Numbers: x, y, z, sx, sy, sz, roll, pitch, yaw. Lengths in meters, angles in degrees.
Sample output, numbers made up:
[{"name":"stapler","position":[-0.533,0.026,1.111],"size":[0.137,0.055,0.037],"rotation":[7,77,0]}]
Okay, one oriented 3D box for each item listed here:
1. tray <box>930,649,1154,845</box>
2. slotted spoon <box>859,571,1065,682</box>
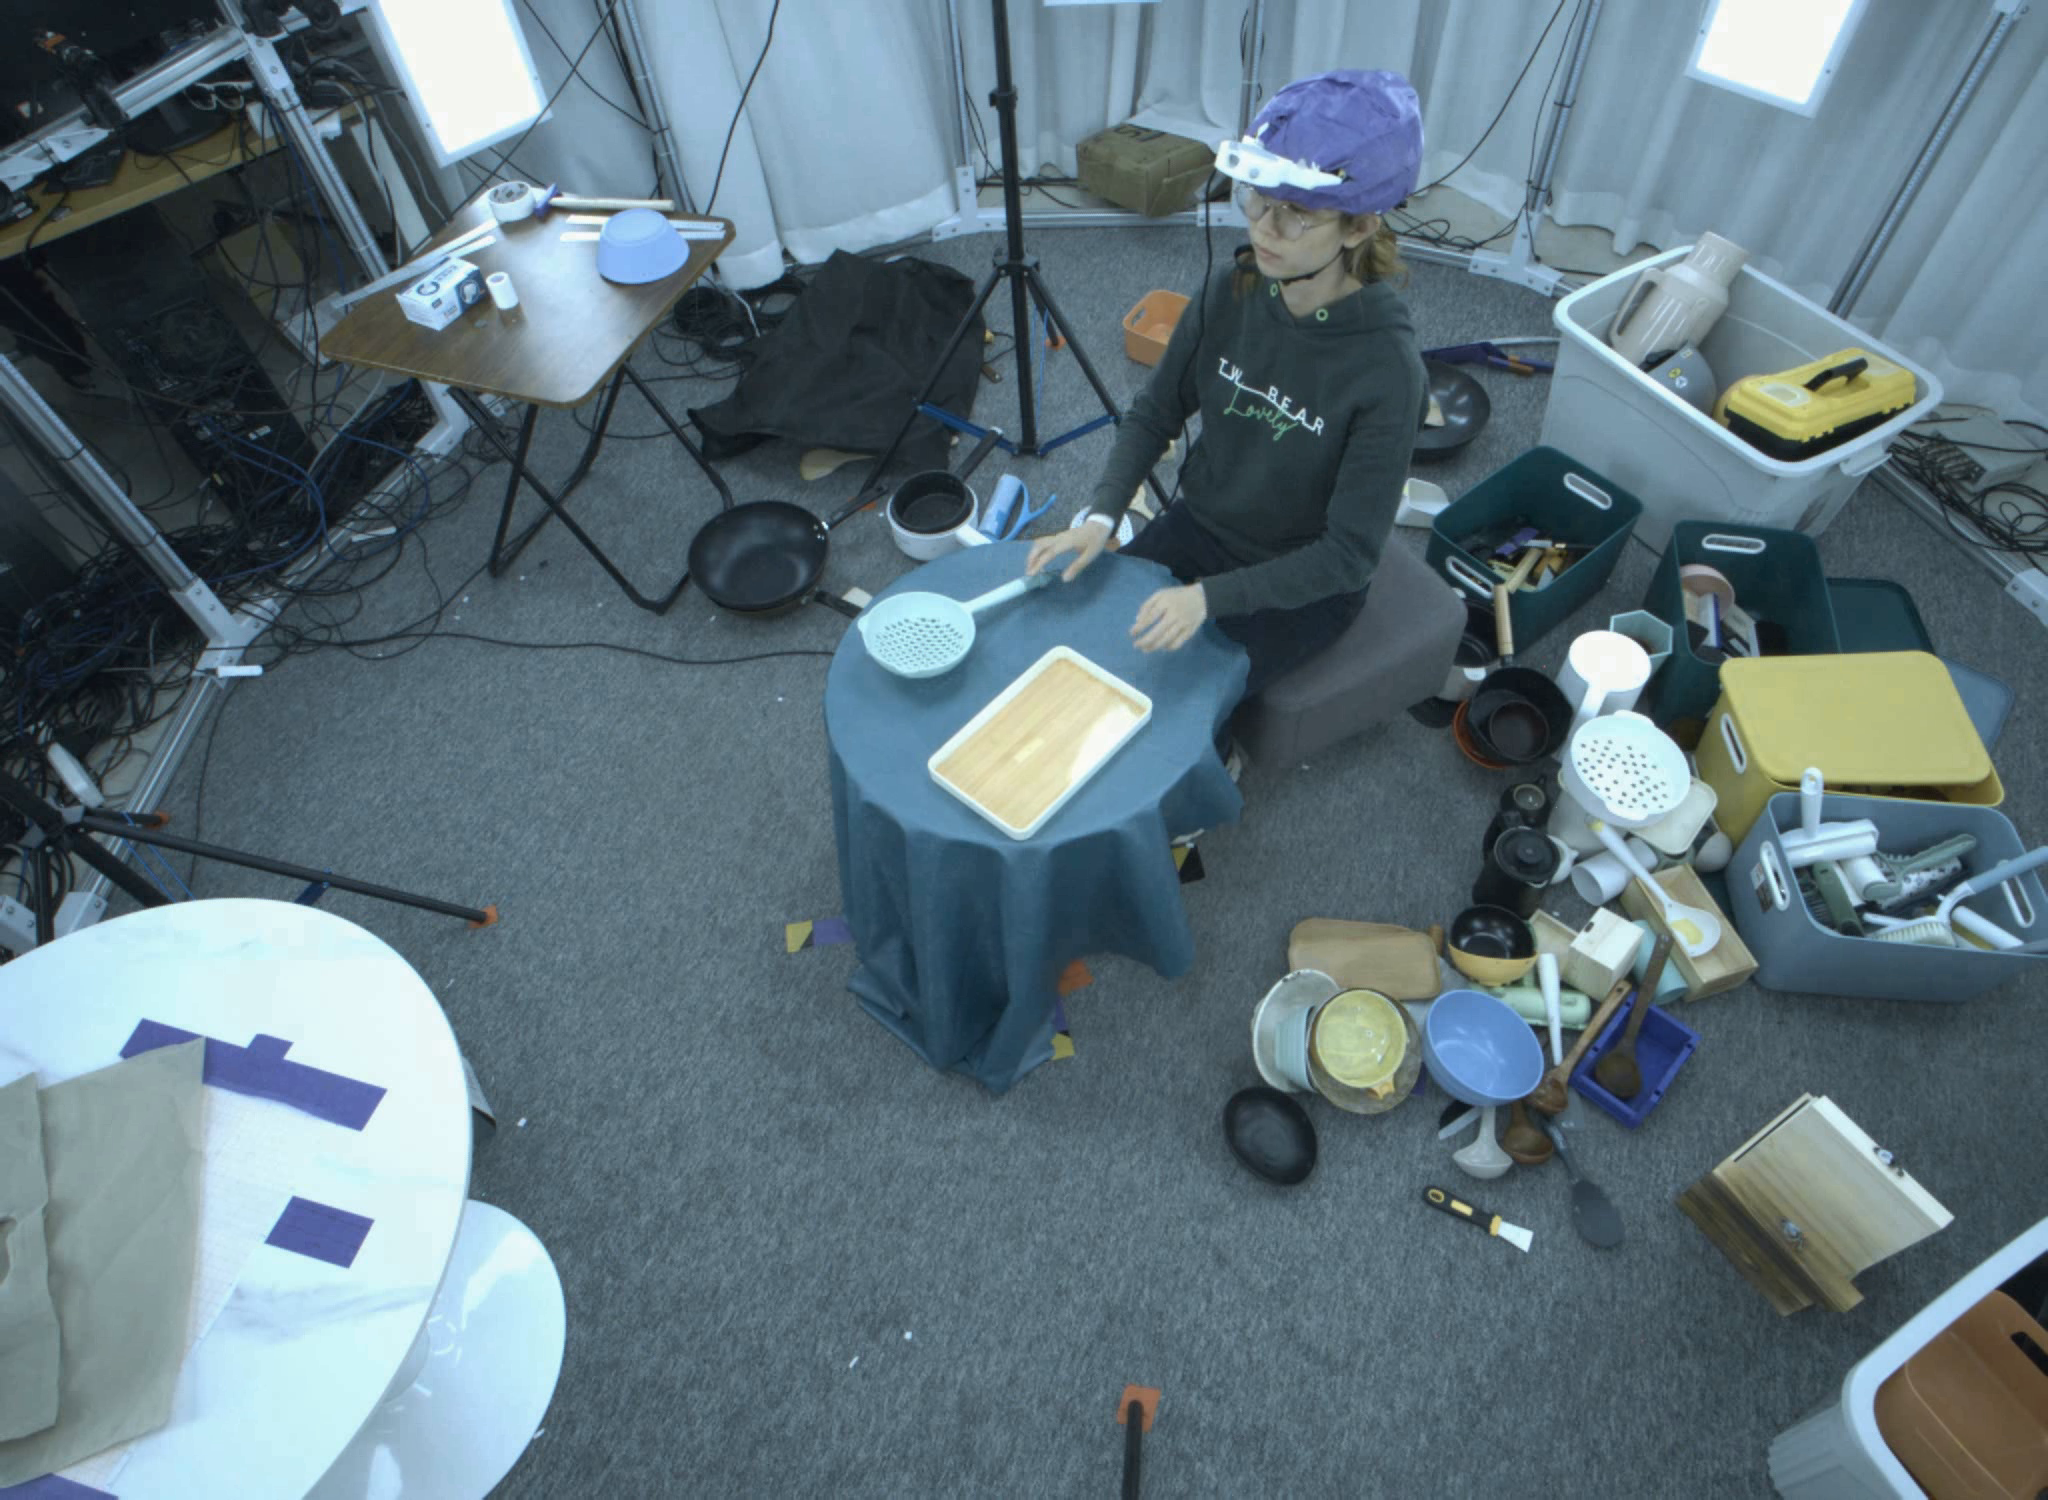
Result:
[{"name":"tray","position":[0.029,-0.011,1.789],"size":[0.188,0.028,0.302],"rotation":[35,63,23]},{"name":"slotted spoon","position":[-0.081,-0.212,1.909],"size":[0.361,0.076,0.166],"rotation":[-33,61,-20]}]
